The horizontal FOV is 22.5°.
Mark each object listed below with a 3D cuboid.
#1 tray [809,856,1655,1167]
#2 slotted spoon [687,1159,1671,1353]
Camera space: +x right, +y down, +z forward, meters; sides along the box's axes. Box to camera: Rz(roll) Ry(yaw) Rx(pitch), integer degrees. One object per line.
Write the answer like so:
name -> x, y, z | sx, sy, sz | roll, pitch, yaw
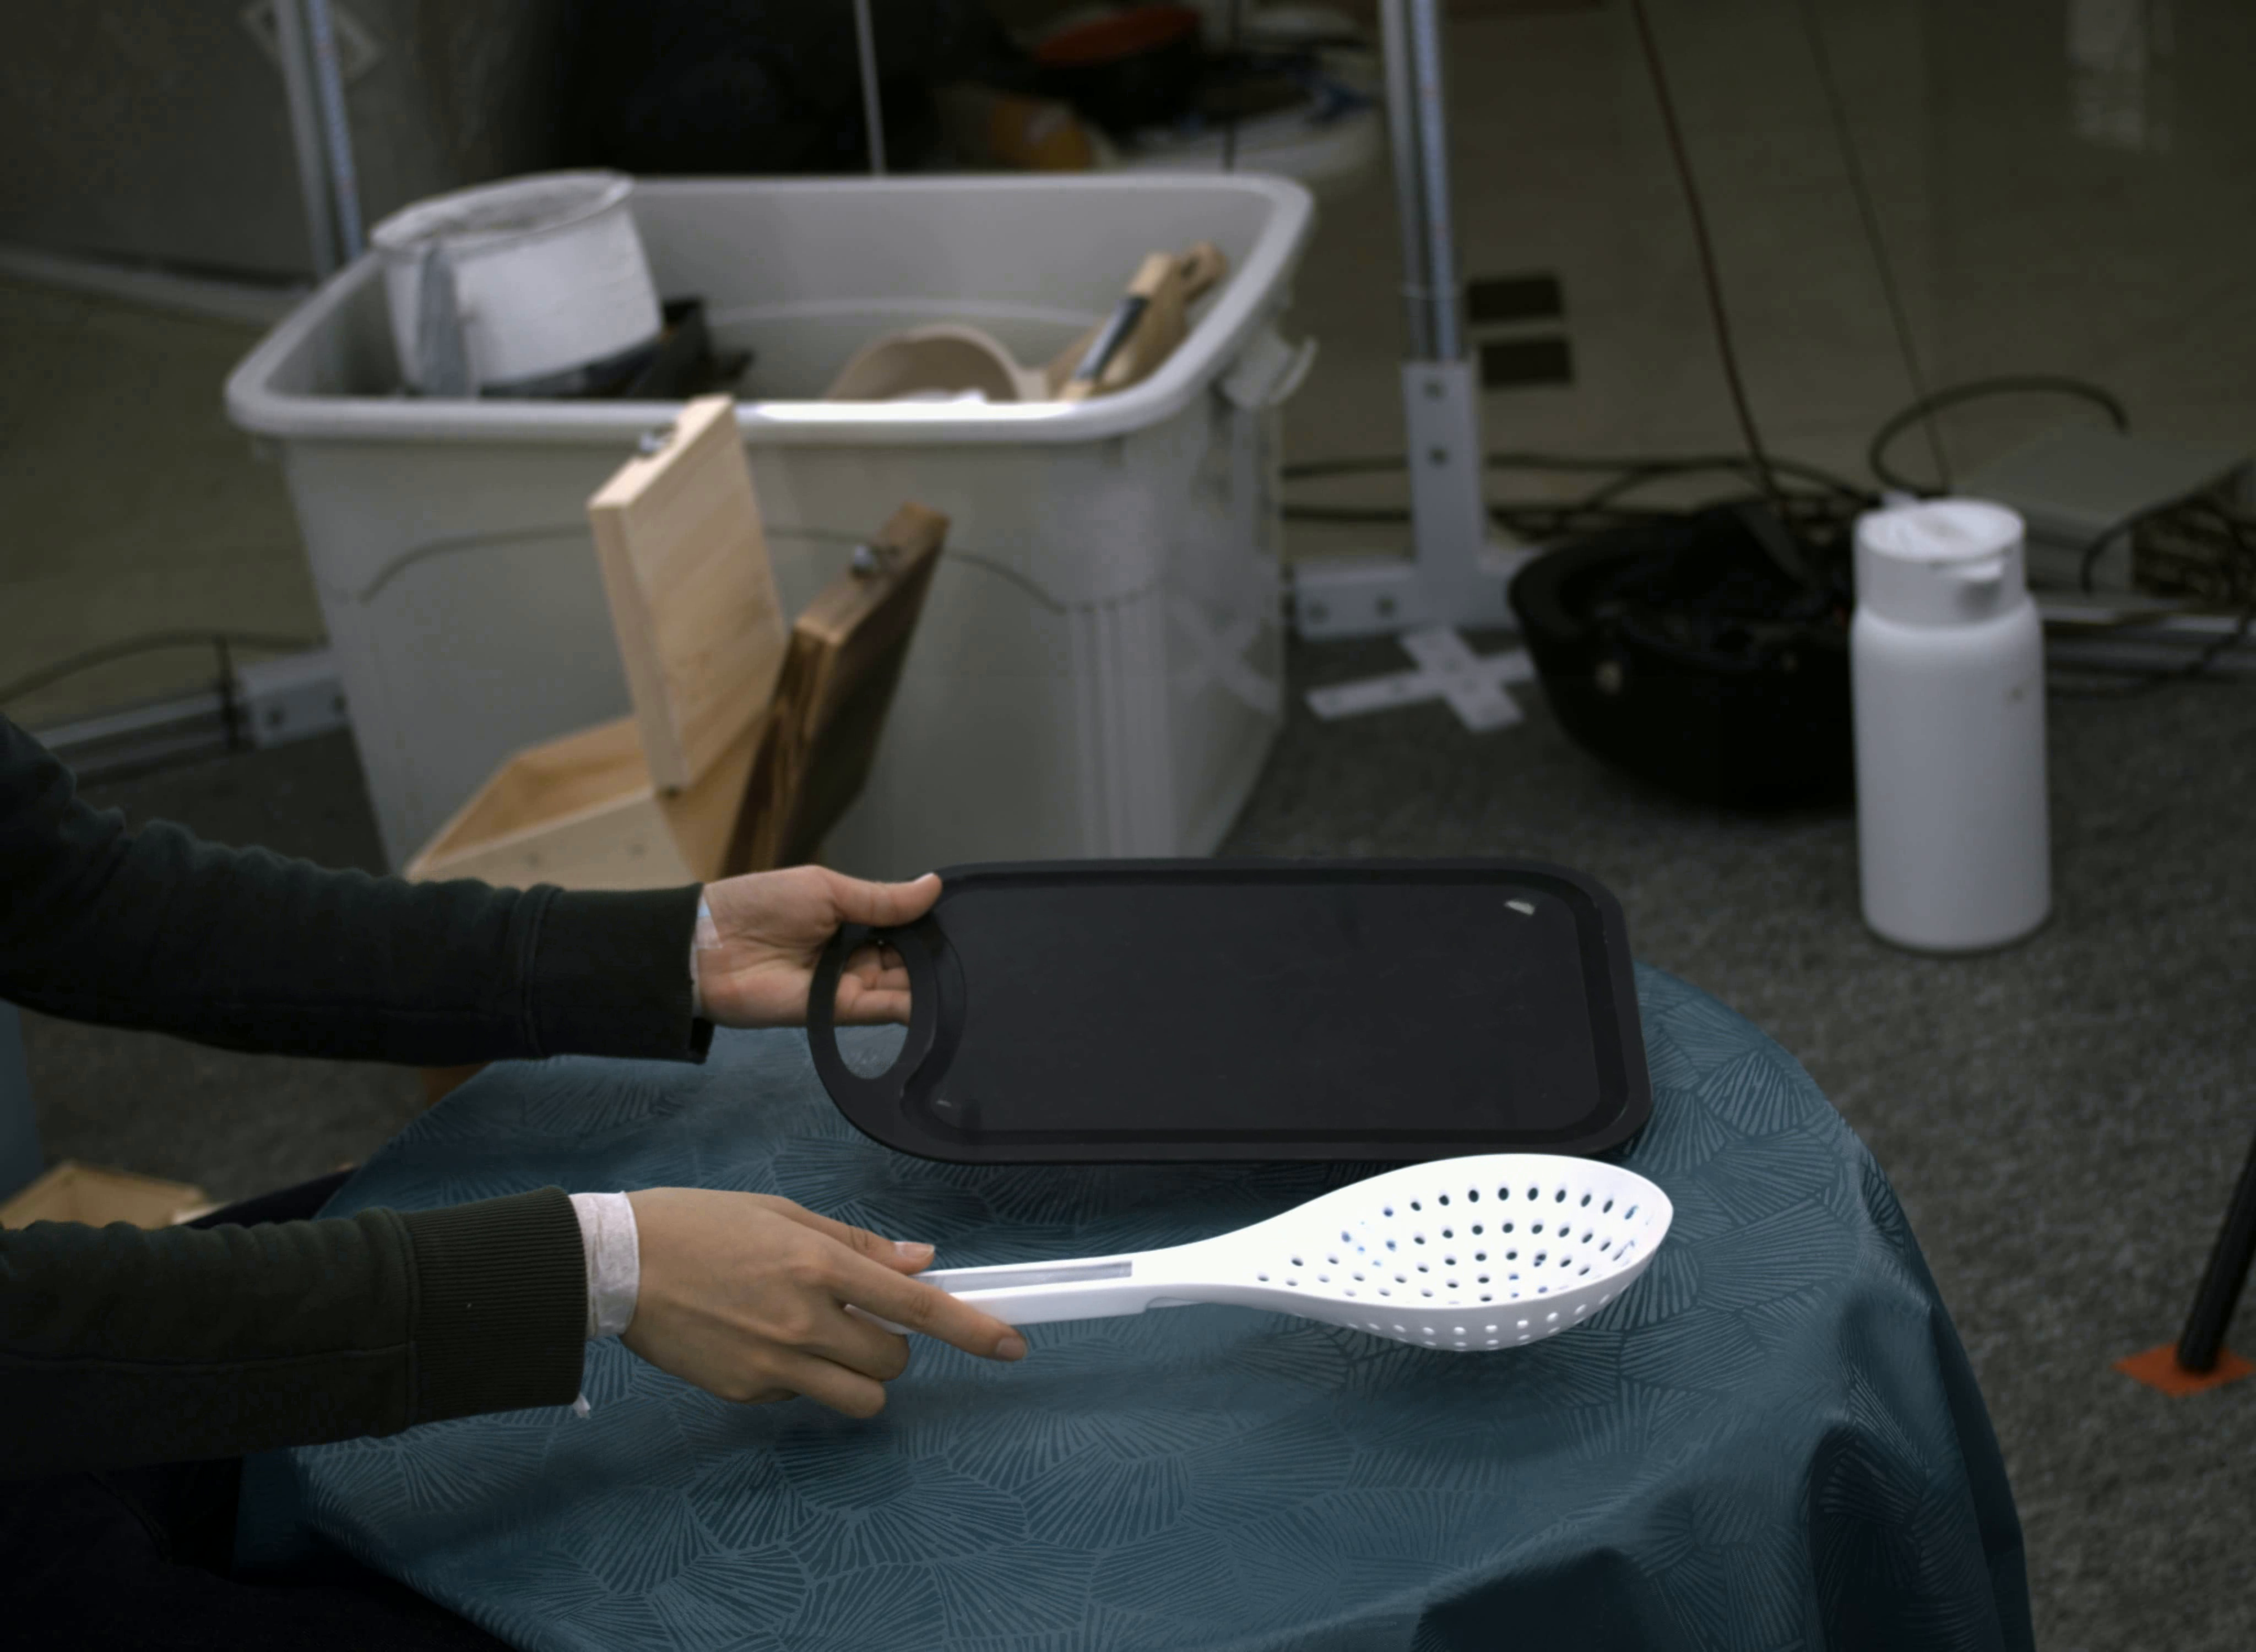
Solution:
tray -> 0.038, 0.068, 2.204 | 0.325, 0.010, 0.207 | 0, 33, 0
slotted spoon -> 0.017, 0.161, 2.014 | 0.349, 0.046, 0.134 | -1, 18, 1
